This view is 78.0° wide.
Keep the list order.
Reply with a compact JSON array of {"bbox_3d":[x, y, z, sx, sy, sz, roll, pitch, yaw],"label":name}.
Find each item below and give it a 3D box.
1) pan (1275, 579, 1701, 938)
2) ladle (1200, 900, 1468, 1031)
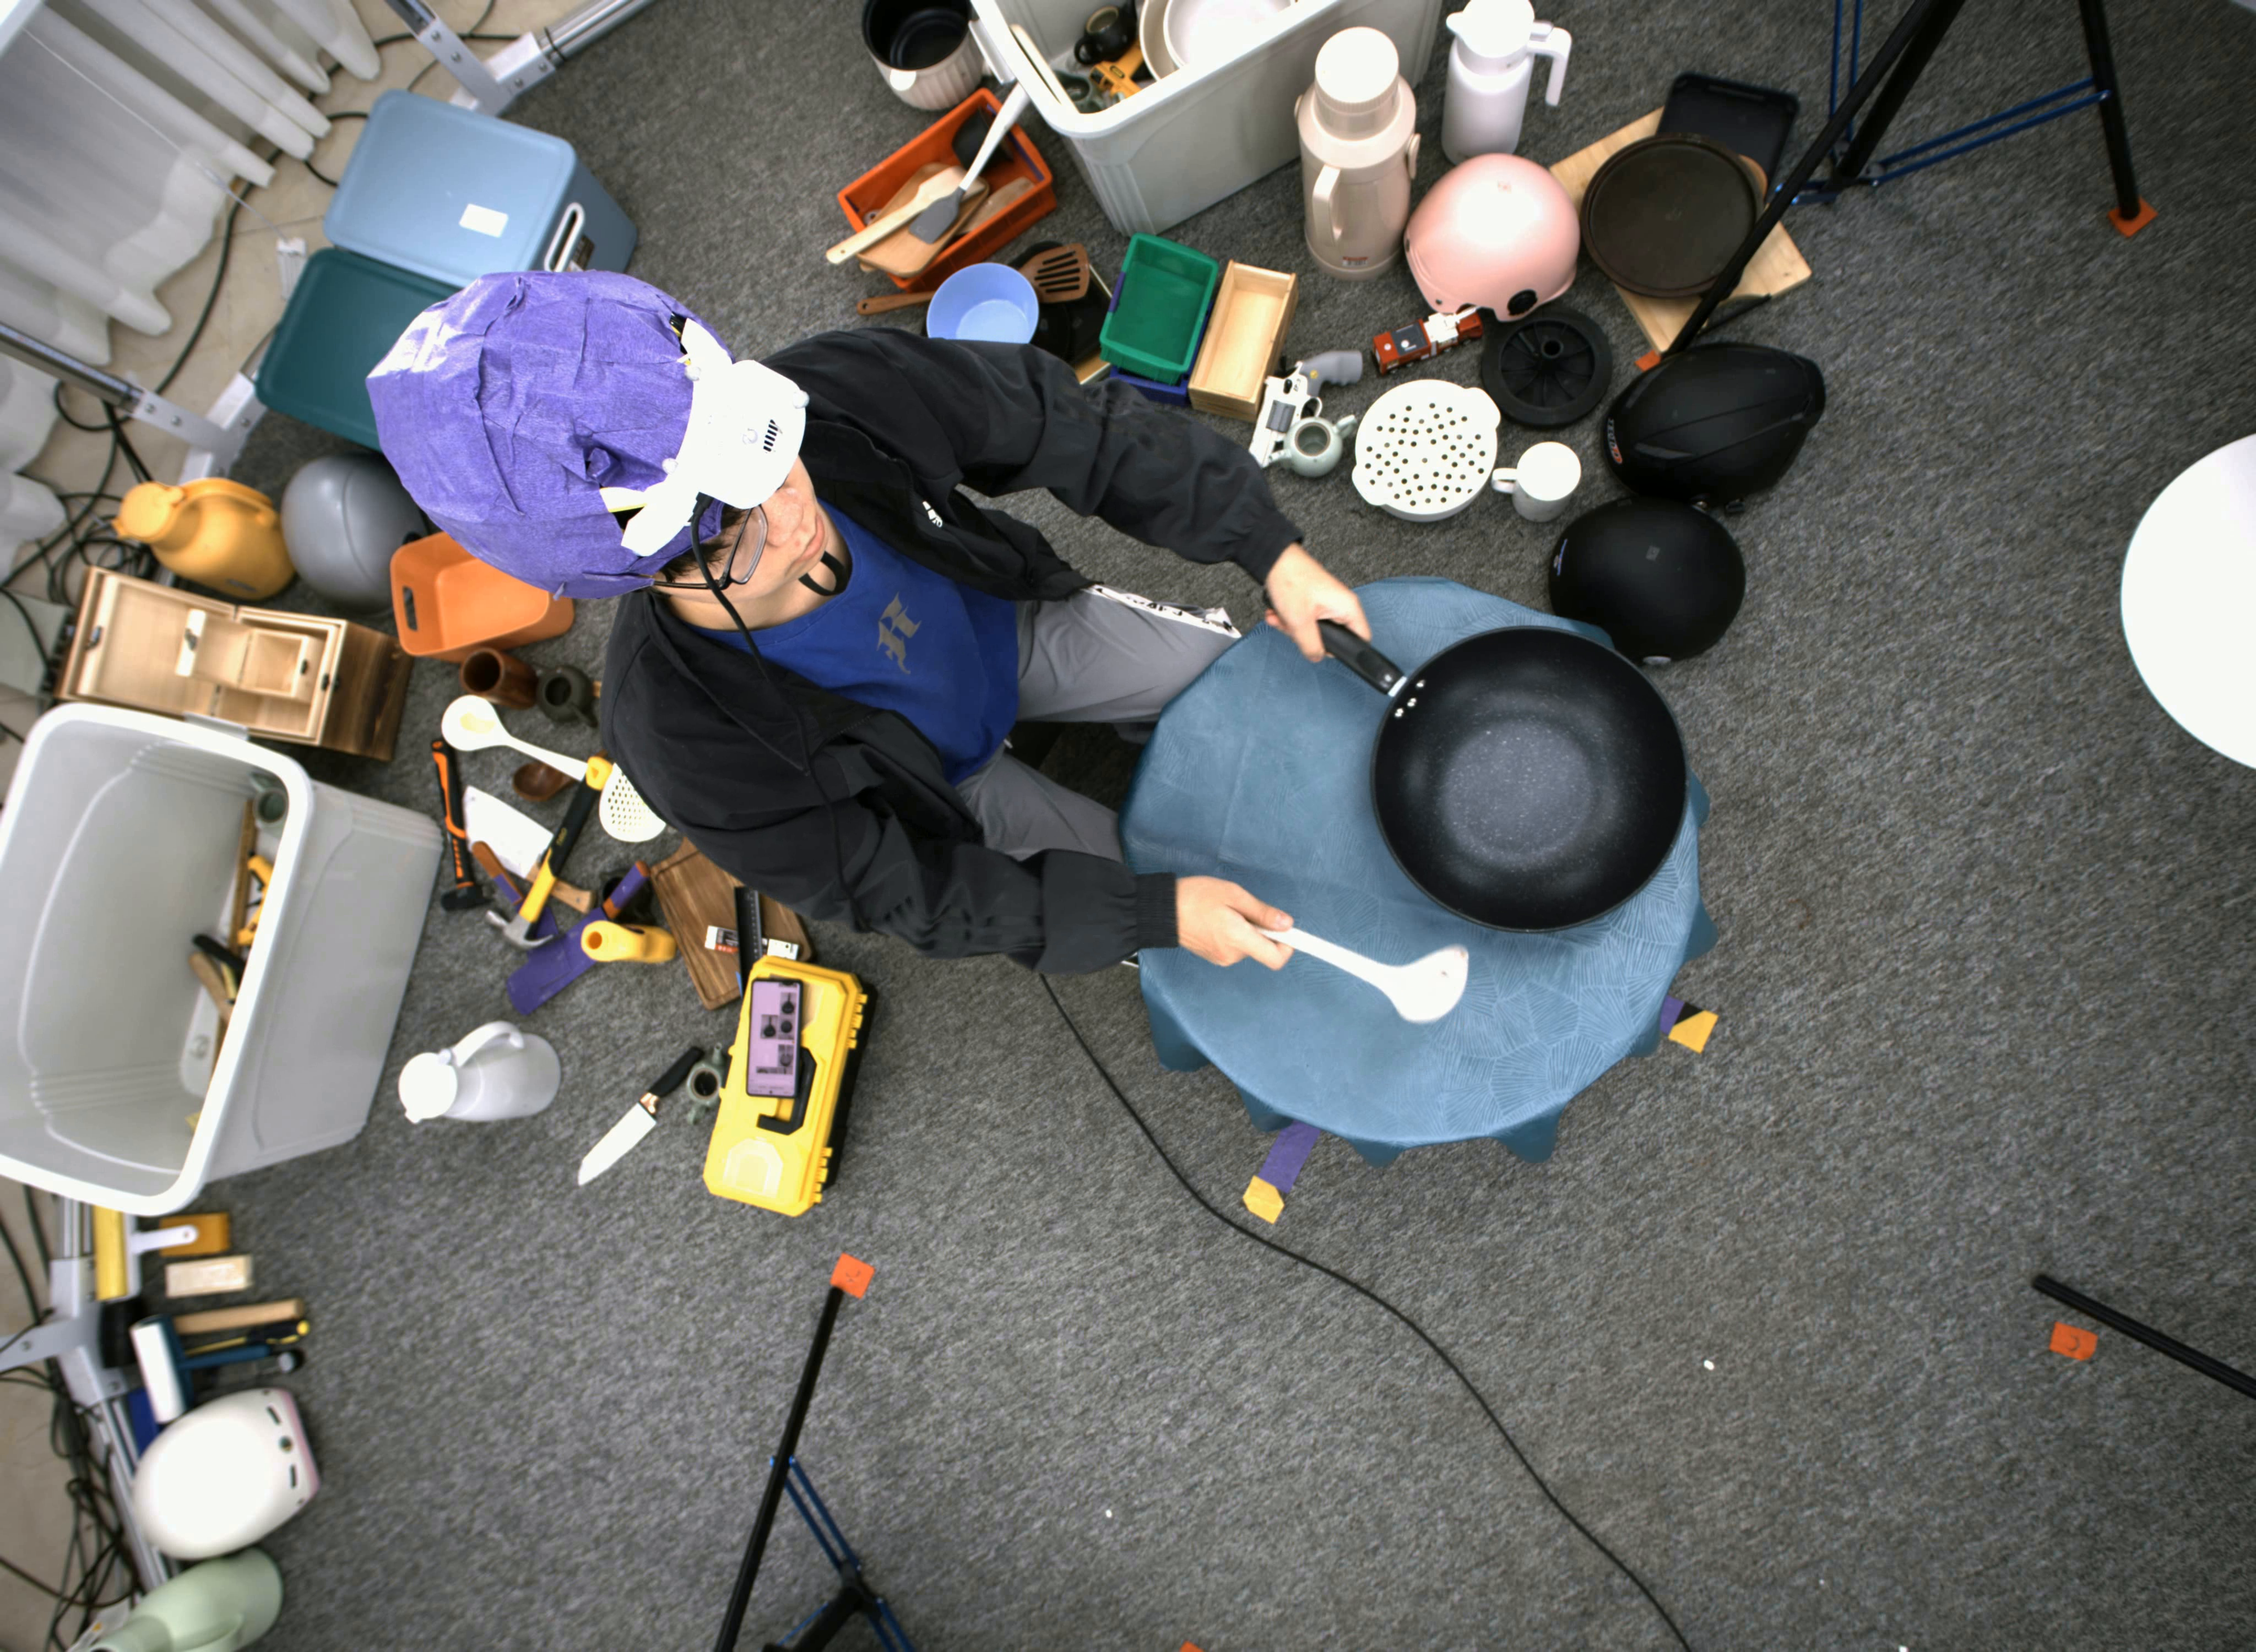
[{"bbox_3d":[0.345,-0.093,1.396,0.475,0.112,0.311,38,92,10],"label":"pan"},{"bbox_3d":[0.193,0.113,1.333,0.274,0.071,0.087,25,59,18],"label":"ladle"}]
